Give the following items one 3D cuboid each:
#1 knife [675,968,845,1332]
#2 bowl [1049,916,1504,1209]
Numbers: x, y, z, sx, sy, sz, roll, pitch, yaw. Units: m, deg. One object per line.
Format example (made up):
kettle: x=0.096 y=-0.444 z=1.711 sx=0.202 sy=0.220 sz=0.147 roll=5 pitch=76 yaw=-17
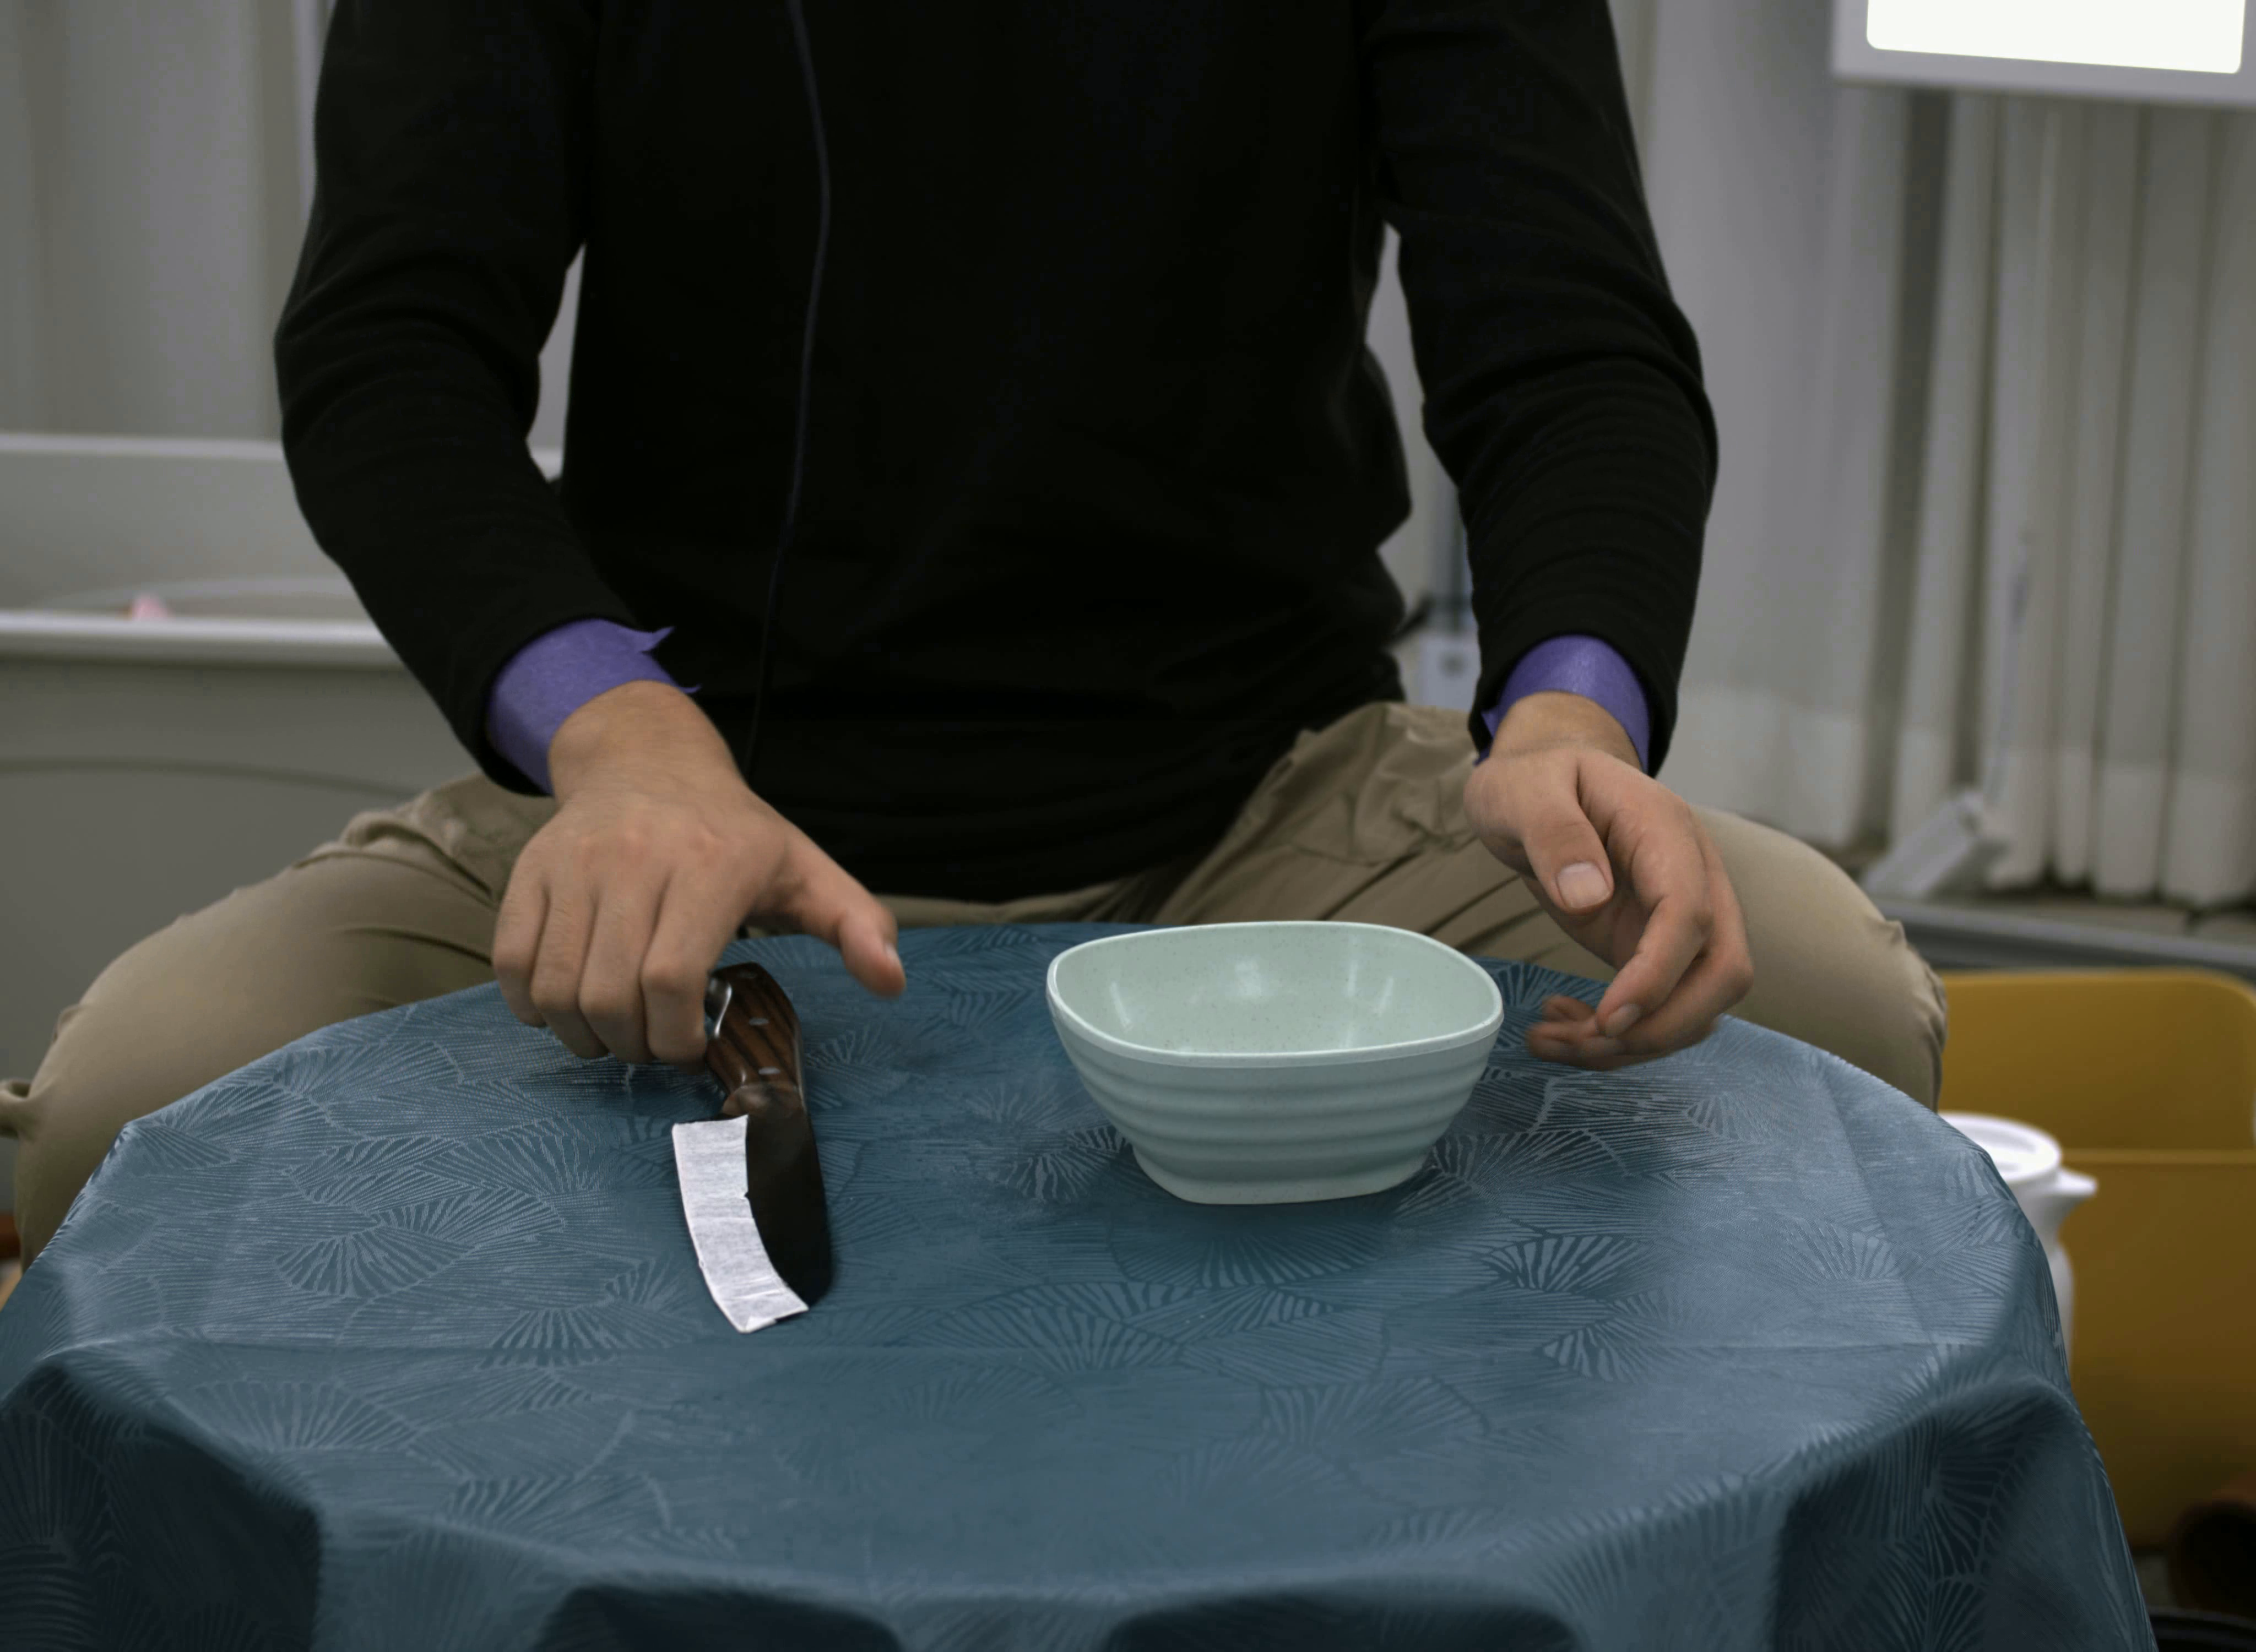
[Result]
knife: x=-0.116 y=0.100 z=1.637 sx=0.050 sy=0.020 sz=0.287 roll=-5 pitch=18 yaw=-3
bowl: x=0.046 y=0.077 z=1.646 sx=0.151 sy=0.059 sz=0.150 roll=1 pitch=17 yaw=0
